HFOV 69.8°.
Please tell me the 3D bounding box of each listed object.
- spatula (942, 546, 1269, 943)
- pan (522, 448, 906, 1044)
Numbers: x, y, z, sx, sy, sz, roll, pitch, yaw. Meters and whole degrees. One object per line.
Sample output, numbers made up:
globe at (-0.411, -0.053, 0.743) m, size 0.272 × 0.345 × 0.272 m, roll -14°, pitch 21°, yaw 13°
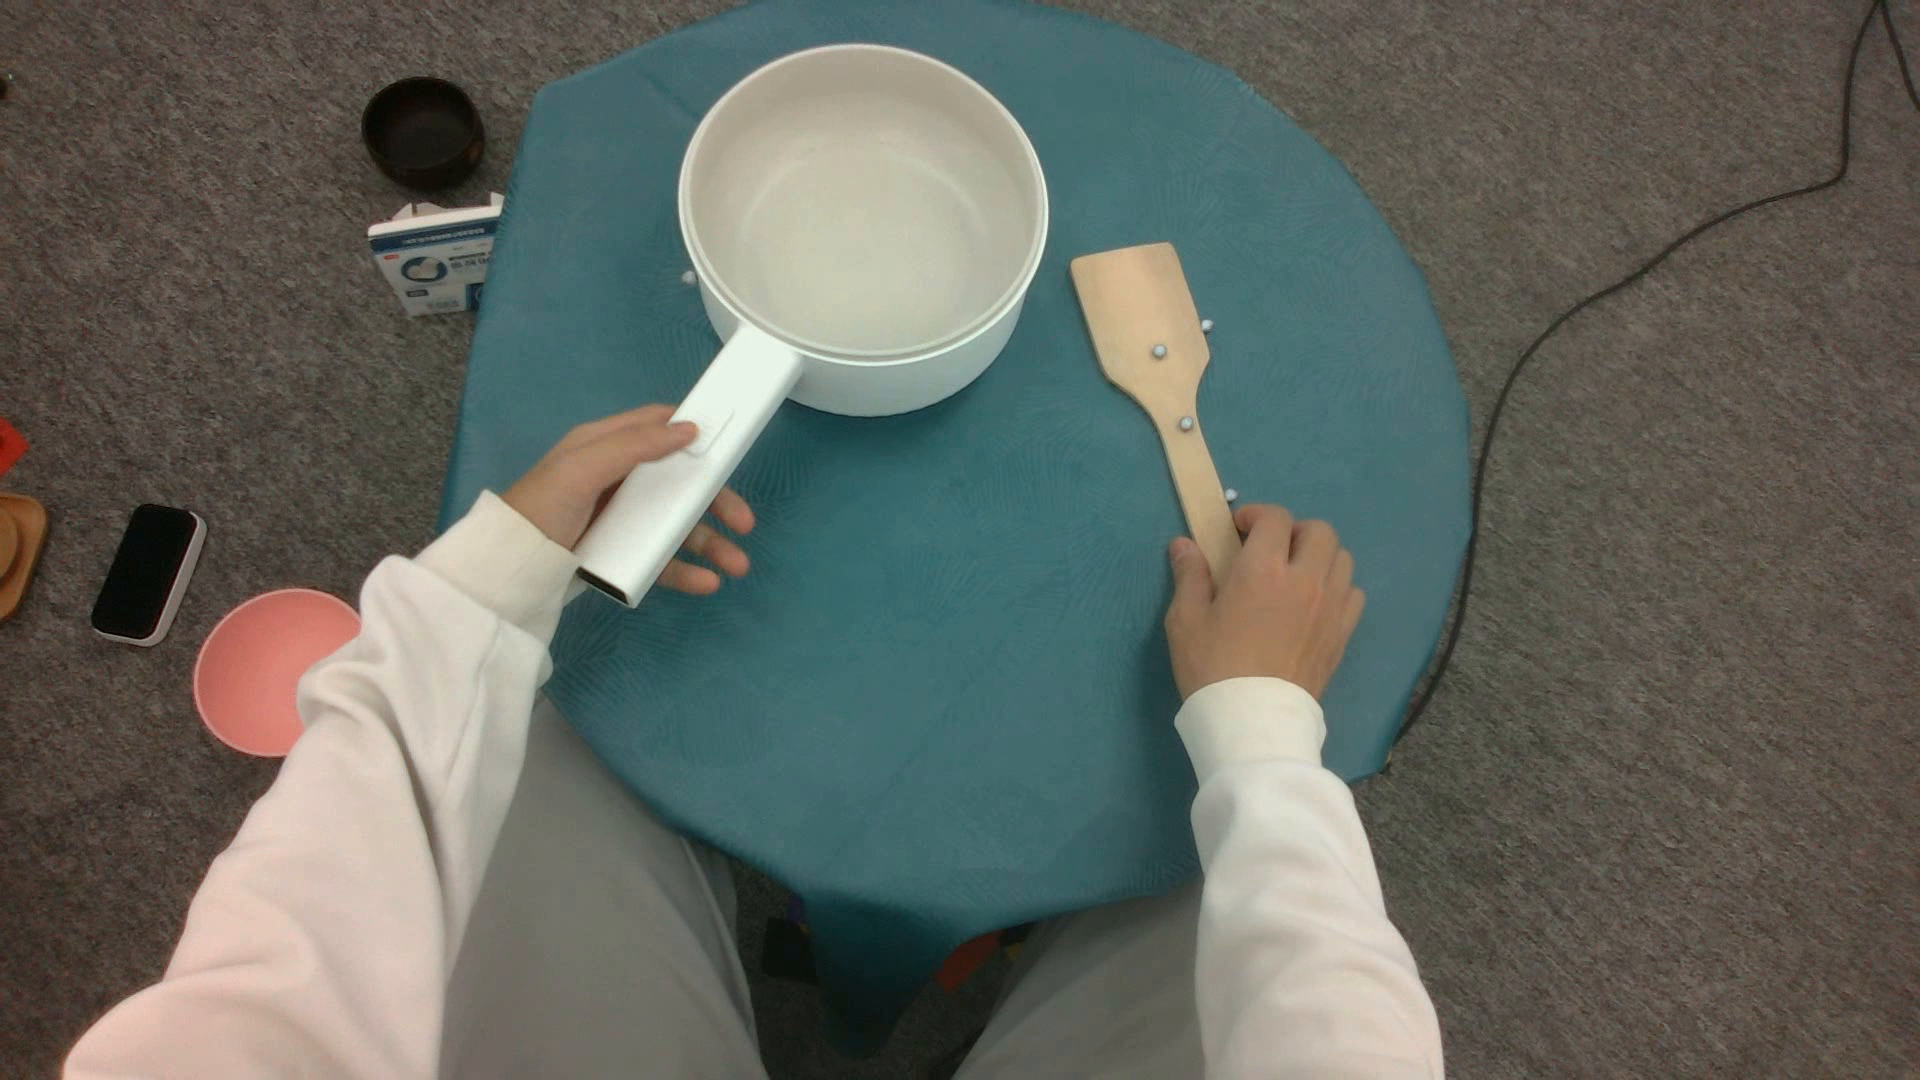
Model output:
spatula at (0.091, 0.119, 0.839) m, size 0.072 × 0.010 × 0.293 m, roll -26°, pitch 58°, yaw -18°
pan at (-0.149, 0.114, 0.792) m, size 0.201 × 0.101 × 0.356 m, roll 11°, pitch 57°, yaw 7°
